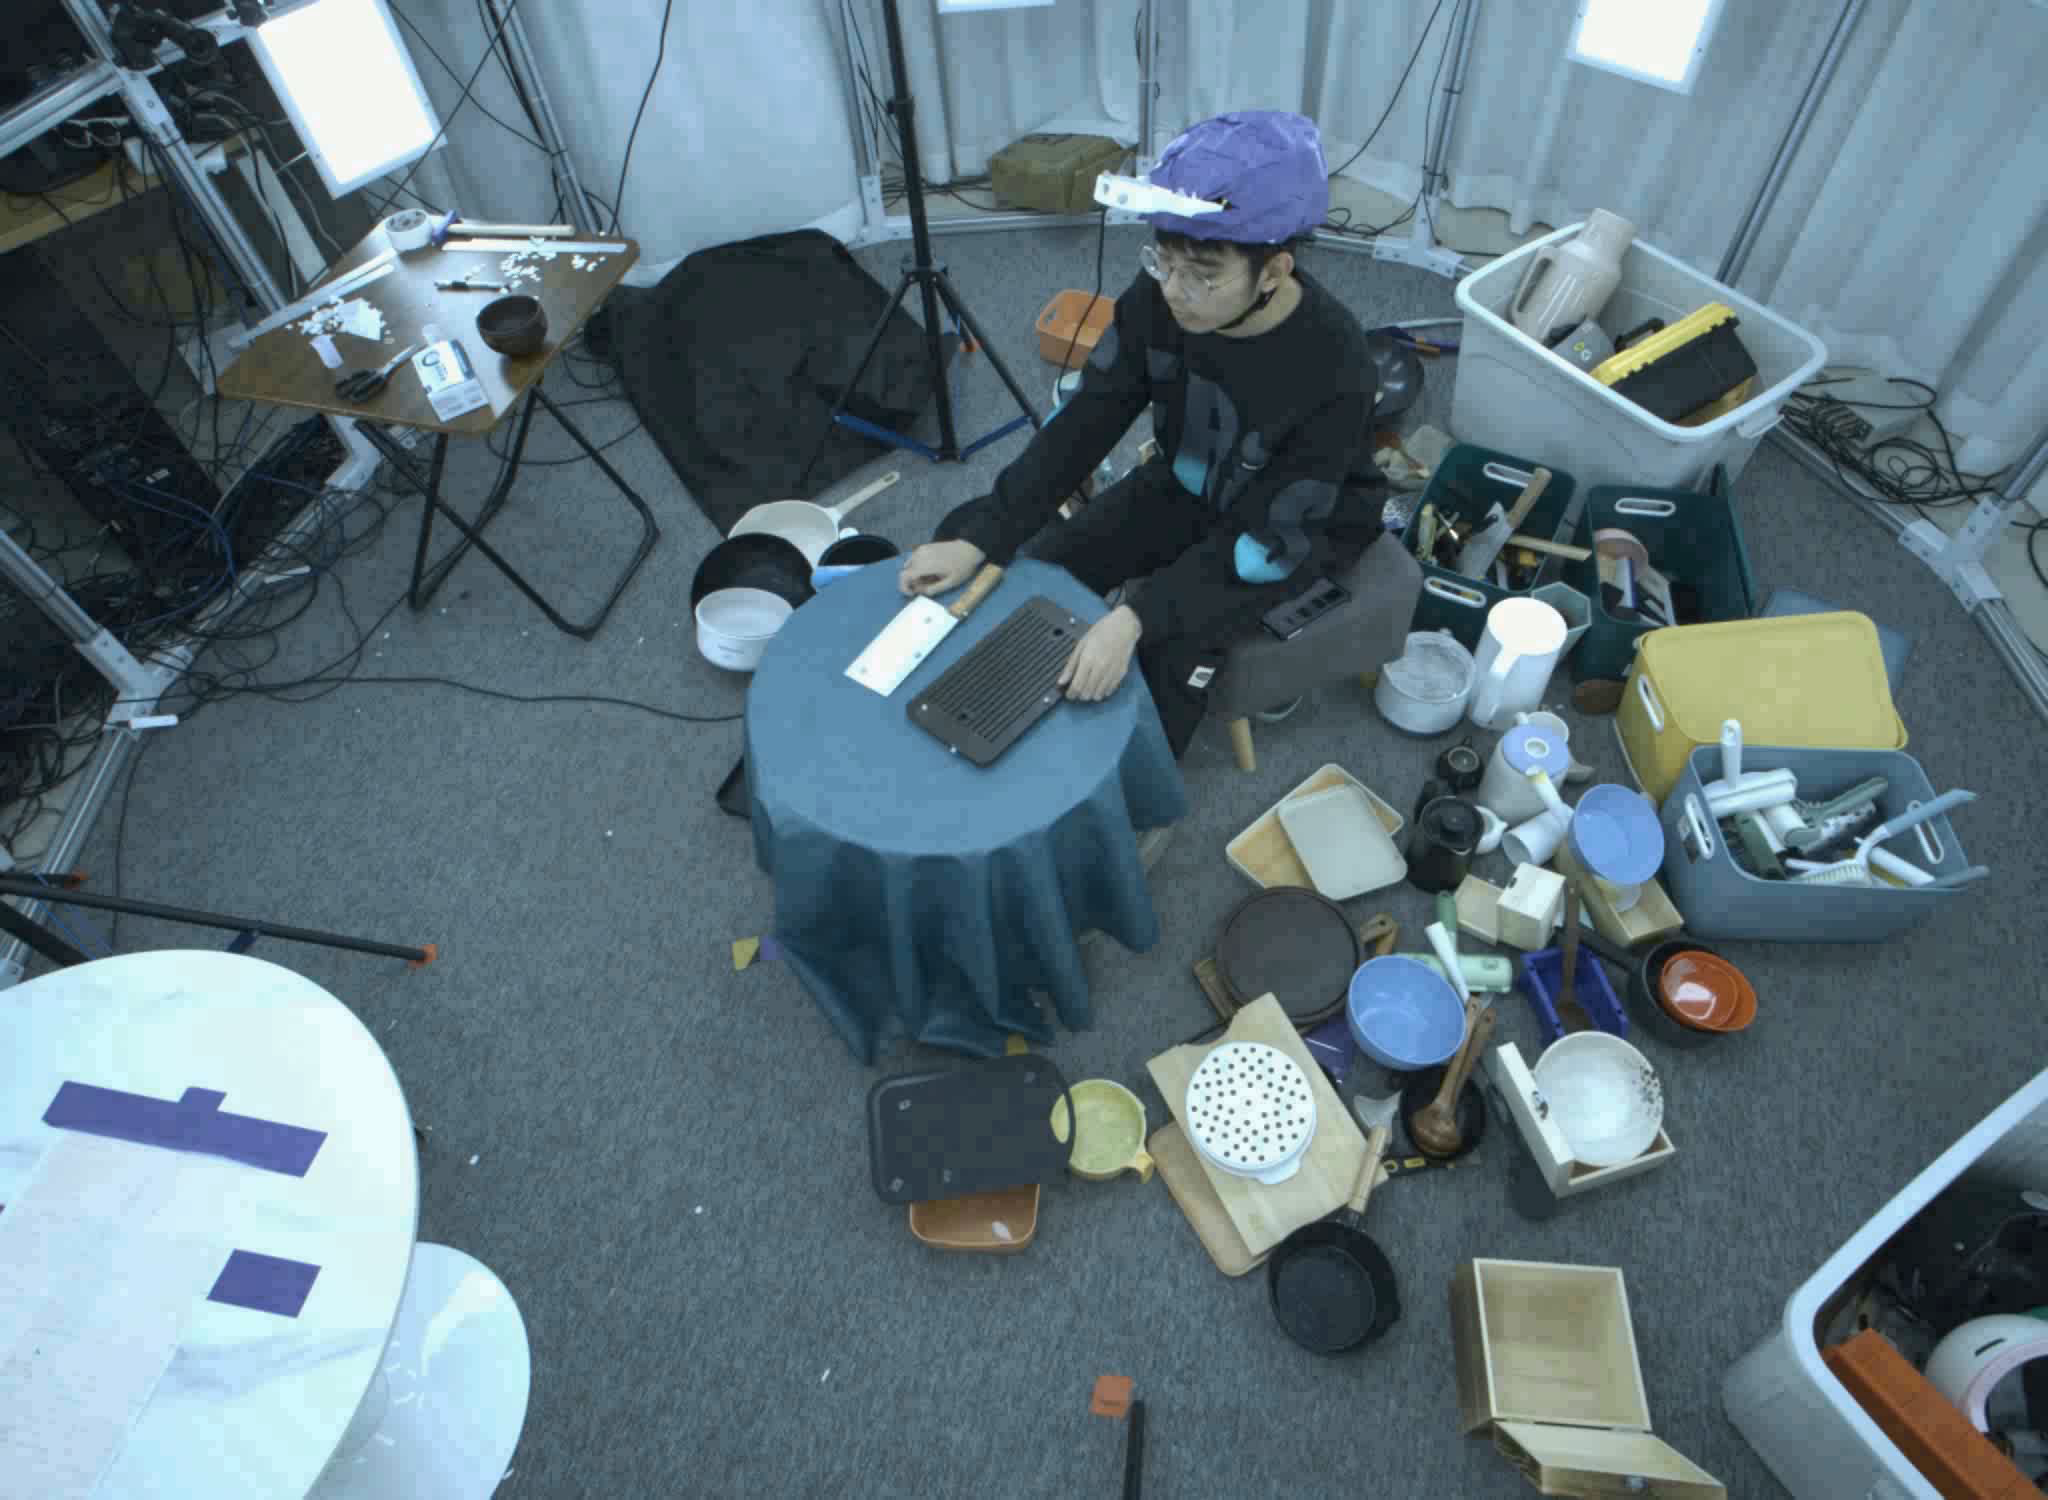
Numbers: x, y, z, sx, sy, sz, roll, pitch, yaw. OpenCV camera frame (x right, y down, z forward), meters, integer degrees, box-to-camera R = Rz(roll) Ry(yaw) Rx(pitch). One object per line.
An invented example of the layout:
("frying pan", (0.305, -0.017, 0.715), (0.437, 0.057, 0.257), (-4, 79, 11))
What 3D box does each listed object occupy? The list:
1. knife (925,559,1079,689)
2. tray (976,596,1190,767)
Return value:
("knife", (-0.037, -0.210, 1.928), (0.091, 0.021, 0.307), (33, 64, 24))
("tray", (0.091, -0.107, 1.848), (0.308, 0.019, 0.167), (-39, 62, -22))
